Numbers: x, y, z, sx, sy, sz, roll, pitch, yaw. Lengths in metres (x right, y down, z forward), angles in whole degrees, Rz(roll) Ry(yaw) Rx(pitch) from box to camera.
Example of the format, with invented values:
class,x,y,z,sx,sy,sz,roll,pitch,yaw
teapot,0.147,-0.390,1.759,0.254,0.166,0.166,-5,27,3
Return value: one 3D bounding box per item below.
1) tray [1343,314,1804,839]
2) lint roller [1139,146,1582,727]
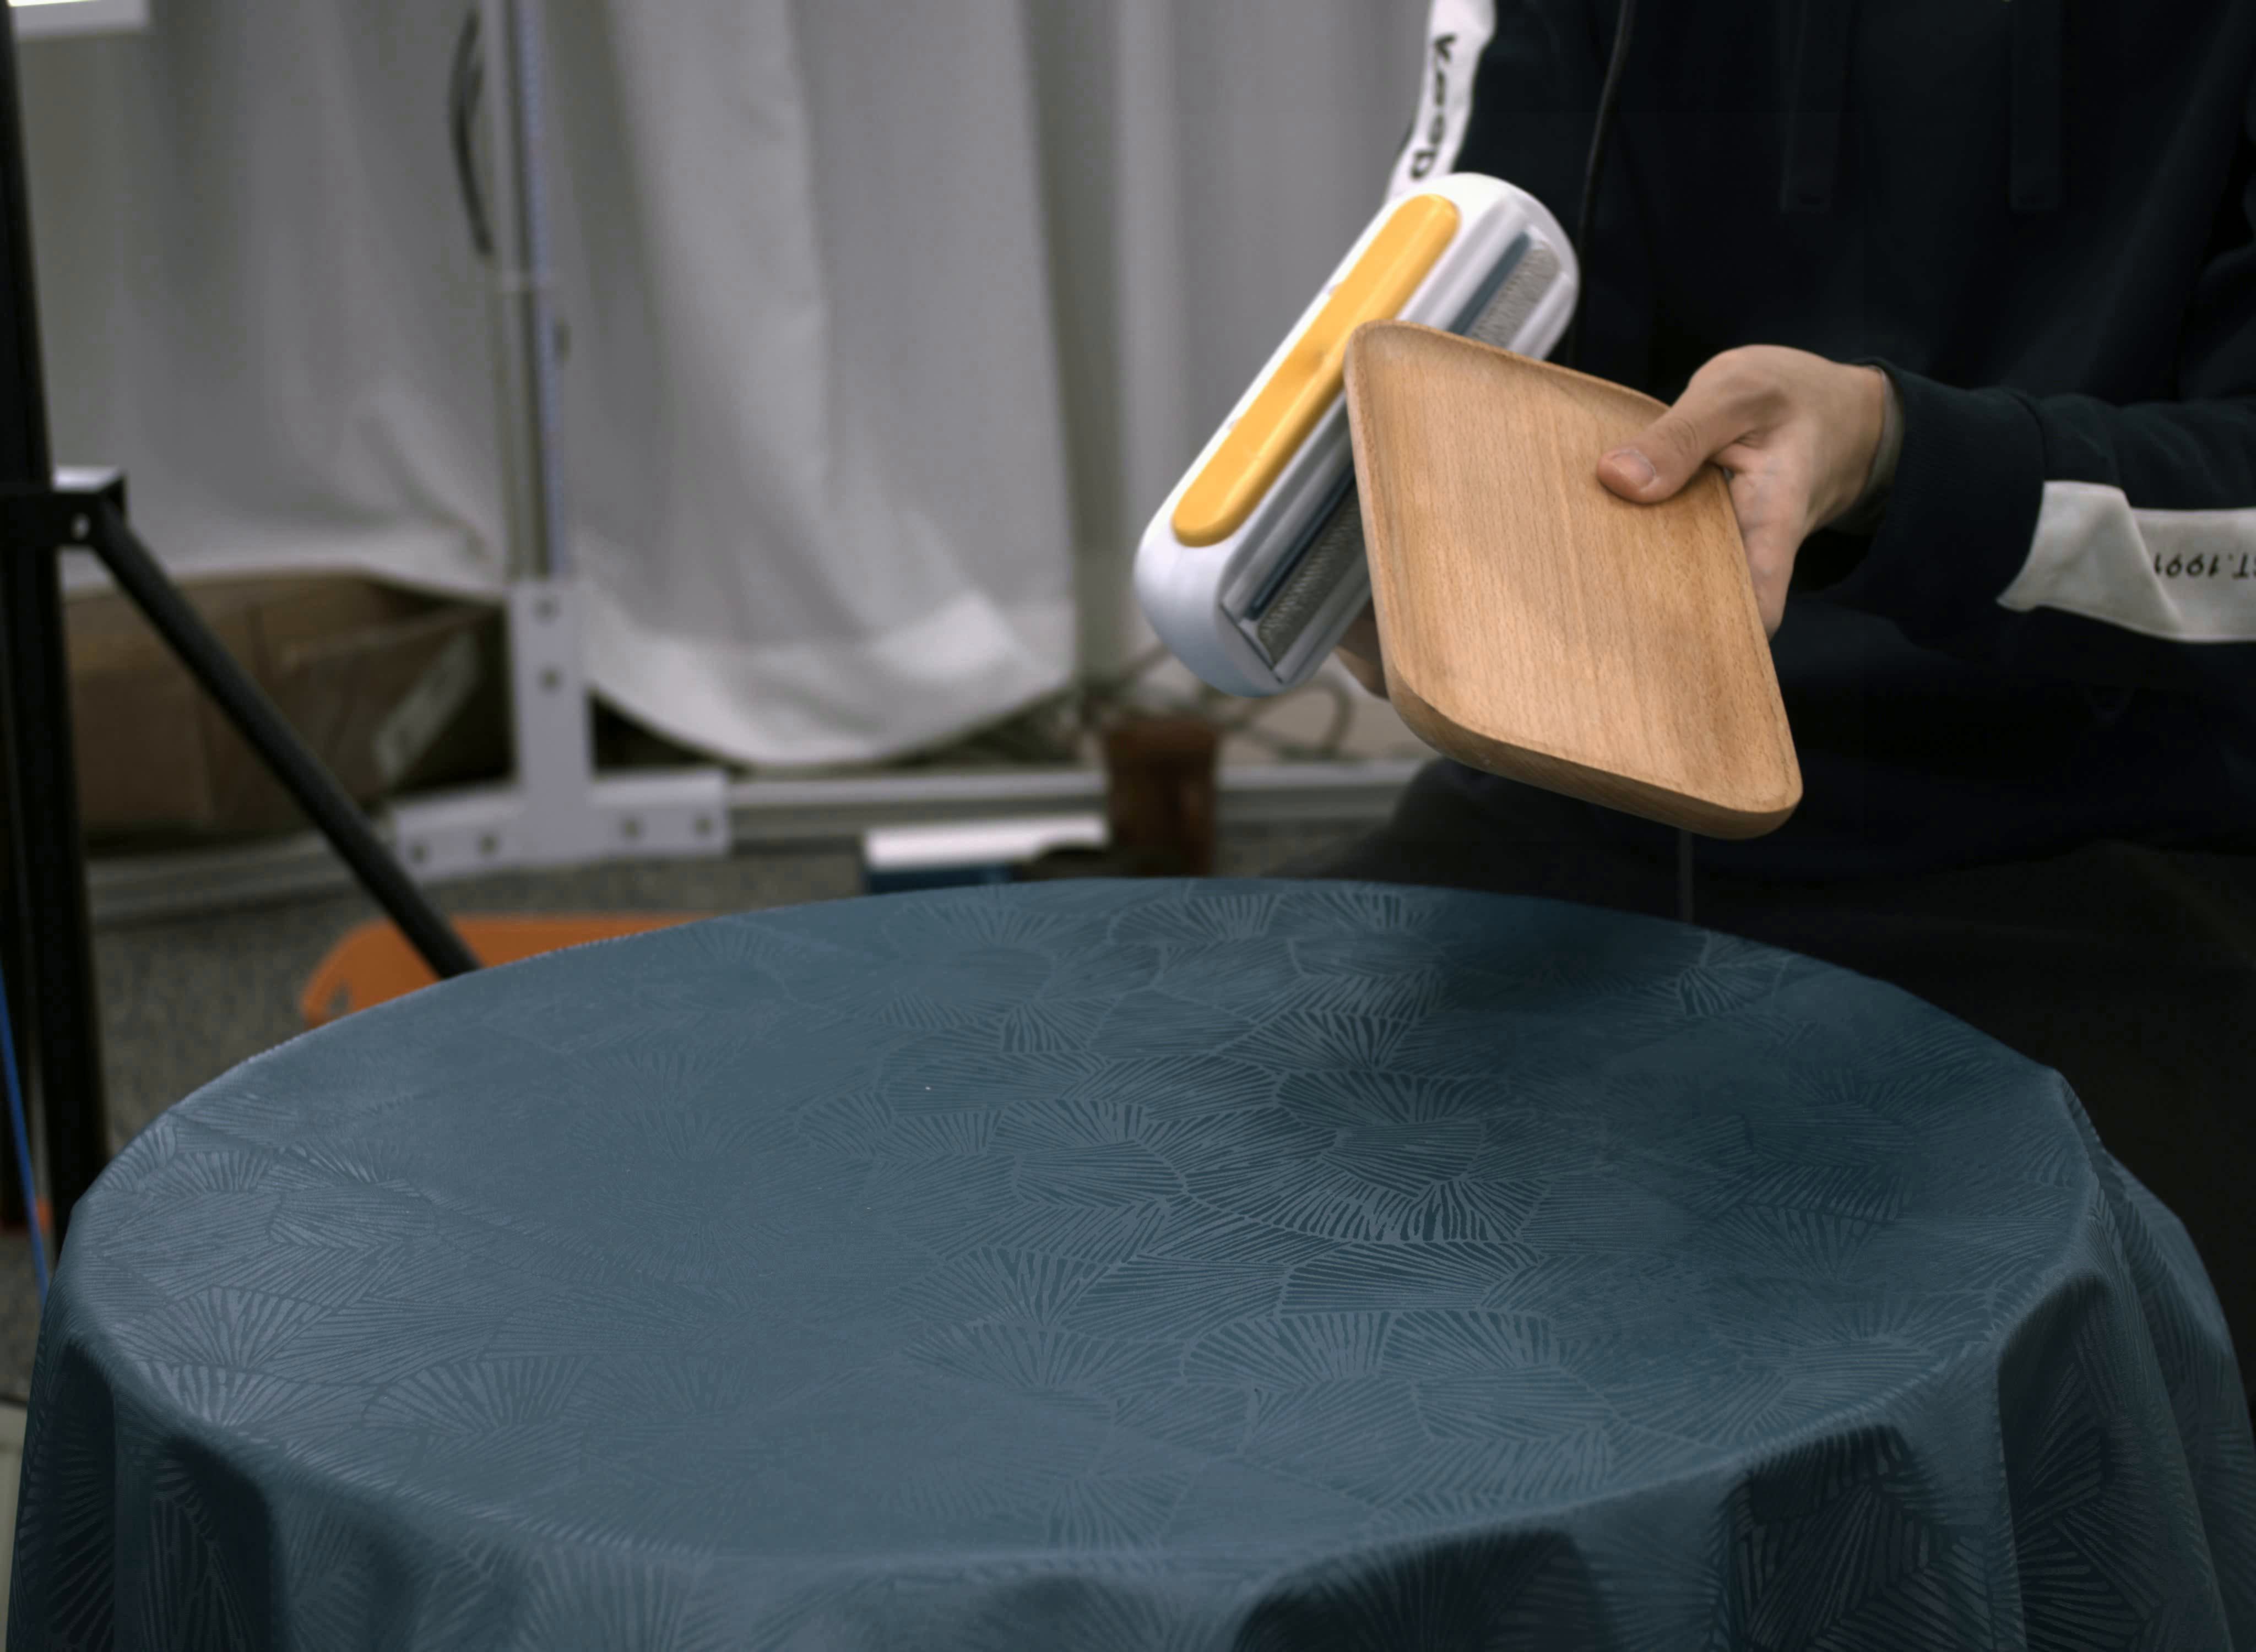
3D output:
class,x,y,z,sx,sy,sz,roll,pitch,yaw
tray,0.129,-0.077,1.585,0.129,0.023,0.253,18,29,-11
lint roller,0.091,-0.099,1.755,0.076,0.189,0.192,16,62,38
